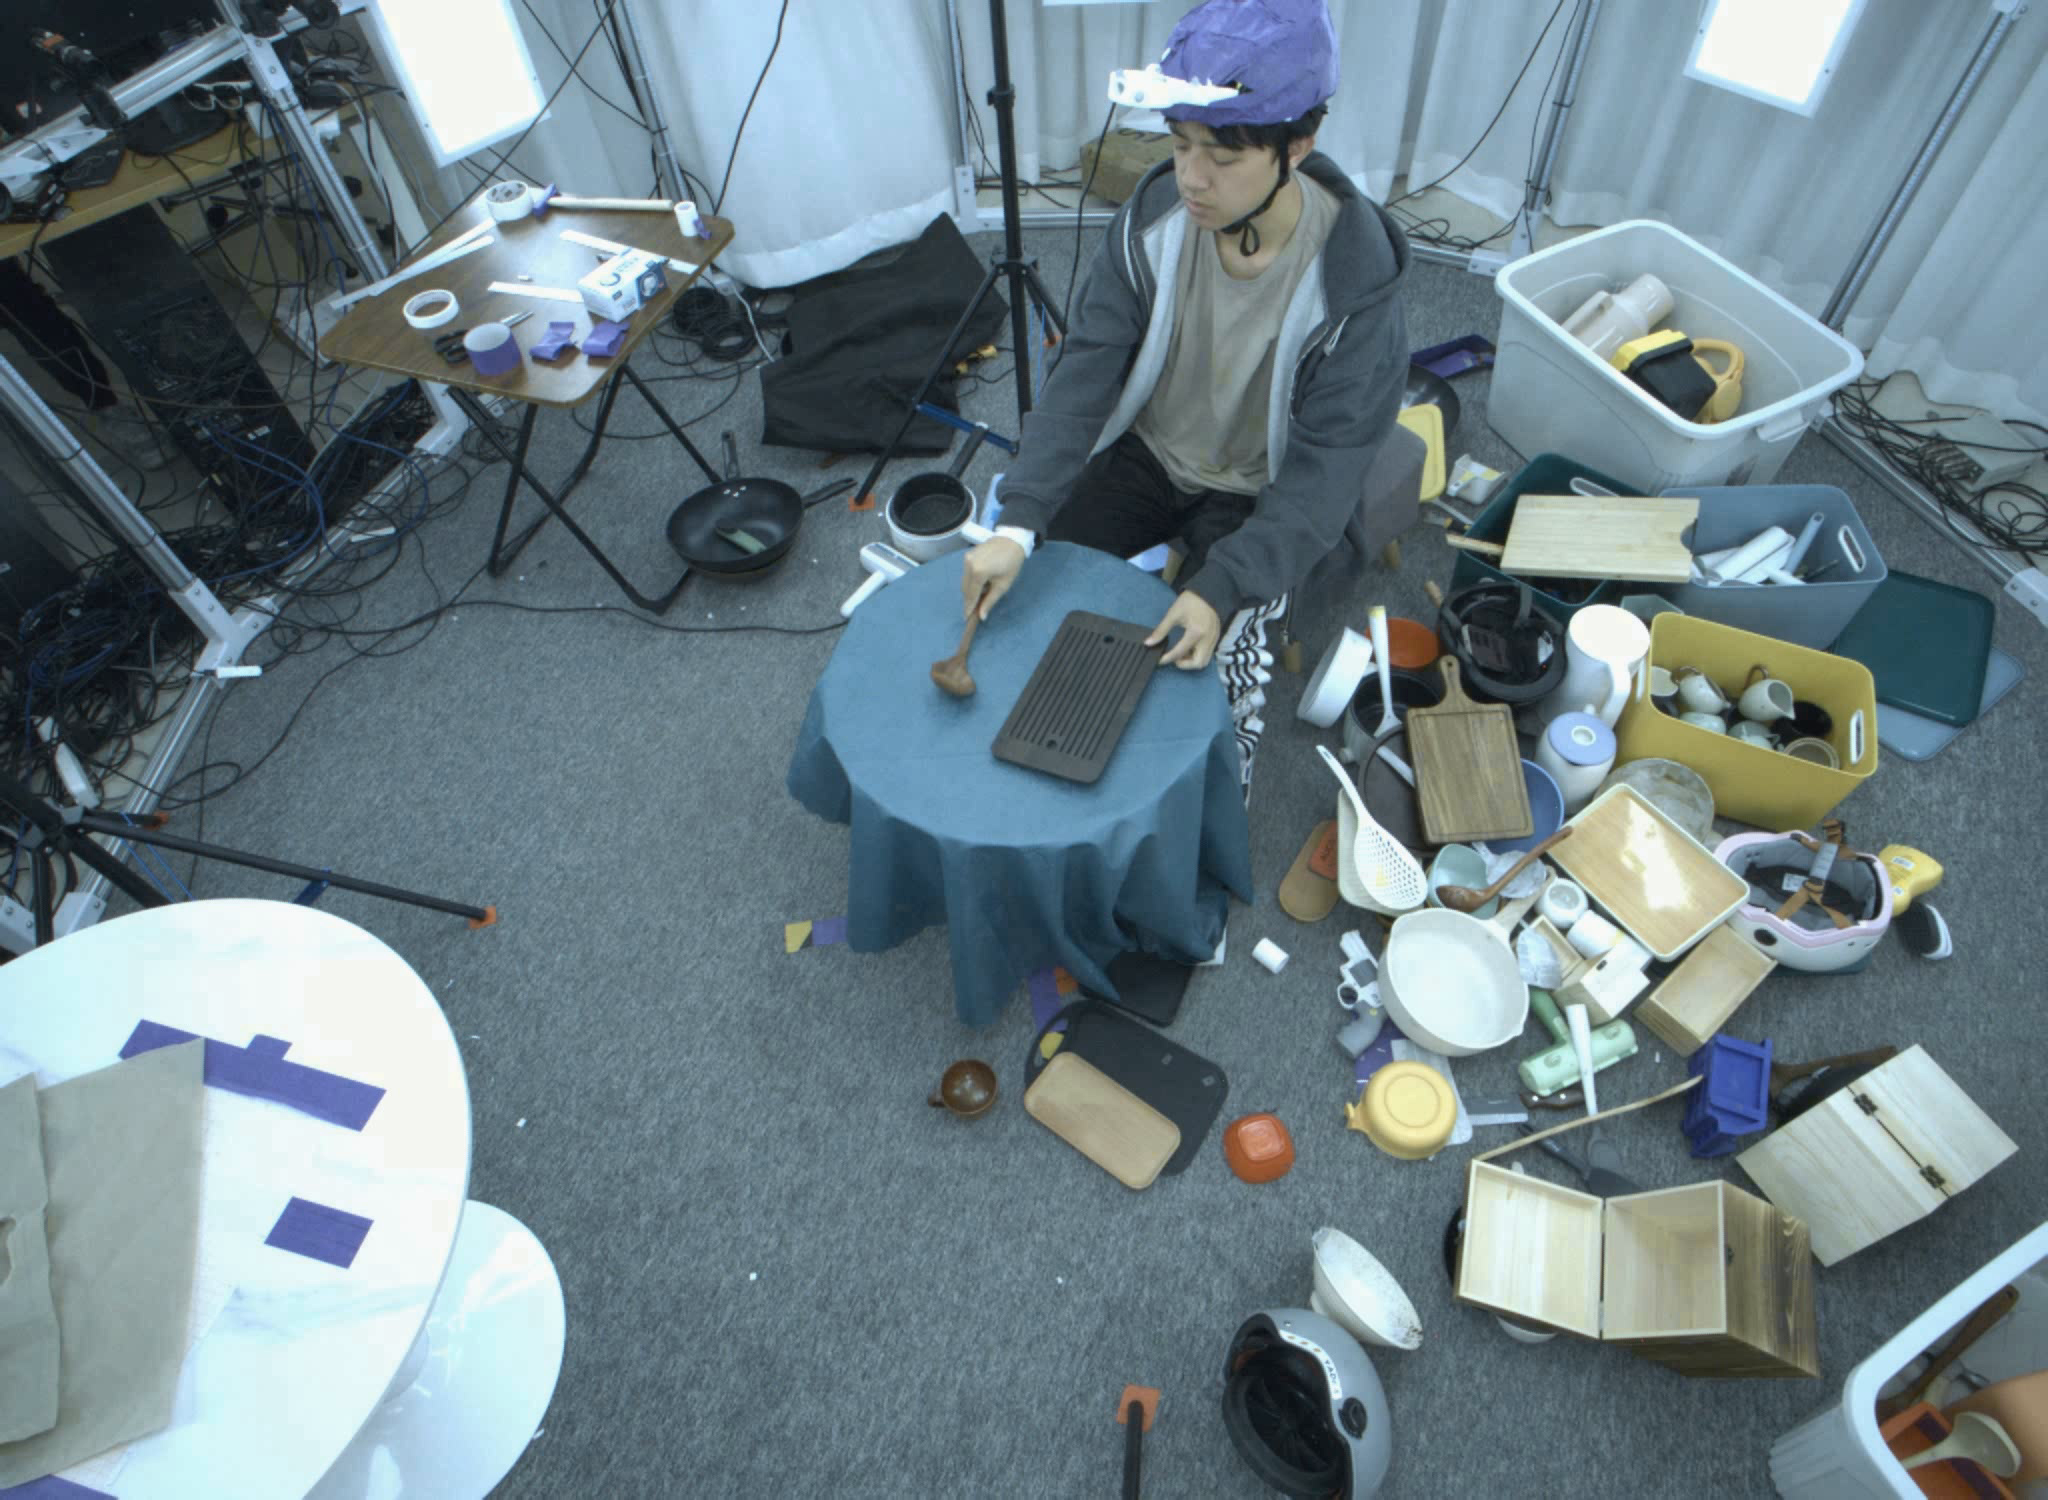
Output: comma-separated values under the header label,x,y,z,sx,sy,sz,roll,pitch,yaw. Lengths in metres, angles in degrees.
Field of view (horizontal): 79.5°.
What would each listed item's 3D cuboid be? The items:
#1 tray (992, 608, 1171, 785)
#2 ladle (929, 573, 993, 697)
label,x,y,z,sx,sy,sz,roll,pitch,yaw
tray,0.090,-0.084,1.829,0.168,0.019,0.306,17,57,18
ladle,-0.082,-0.187,1.884,0.077,0.064,0.259,29,57,-17
